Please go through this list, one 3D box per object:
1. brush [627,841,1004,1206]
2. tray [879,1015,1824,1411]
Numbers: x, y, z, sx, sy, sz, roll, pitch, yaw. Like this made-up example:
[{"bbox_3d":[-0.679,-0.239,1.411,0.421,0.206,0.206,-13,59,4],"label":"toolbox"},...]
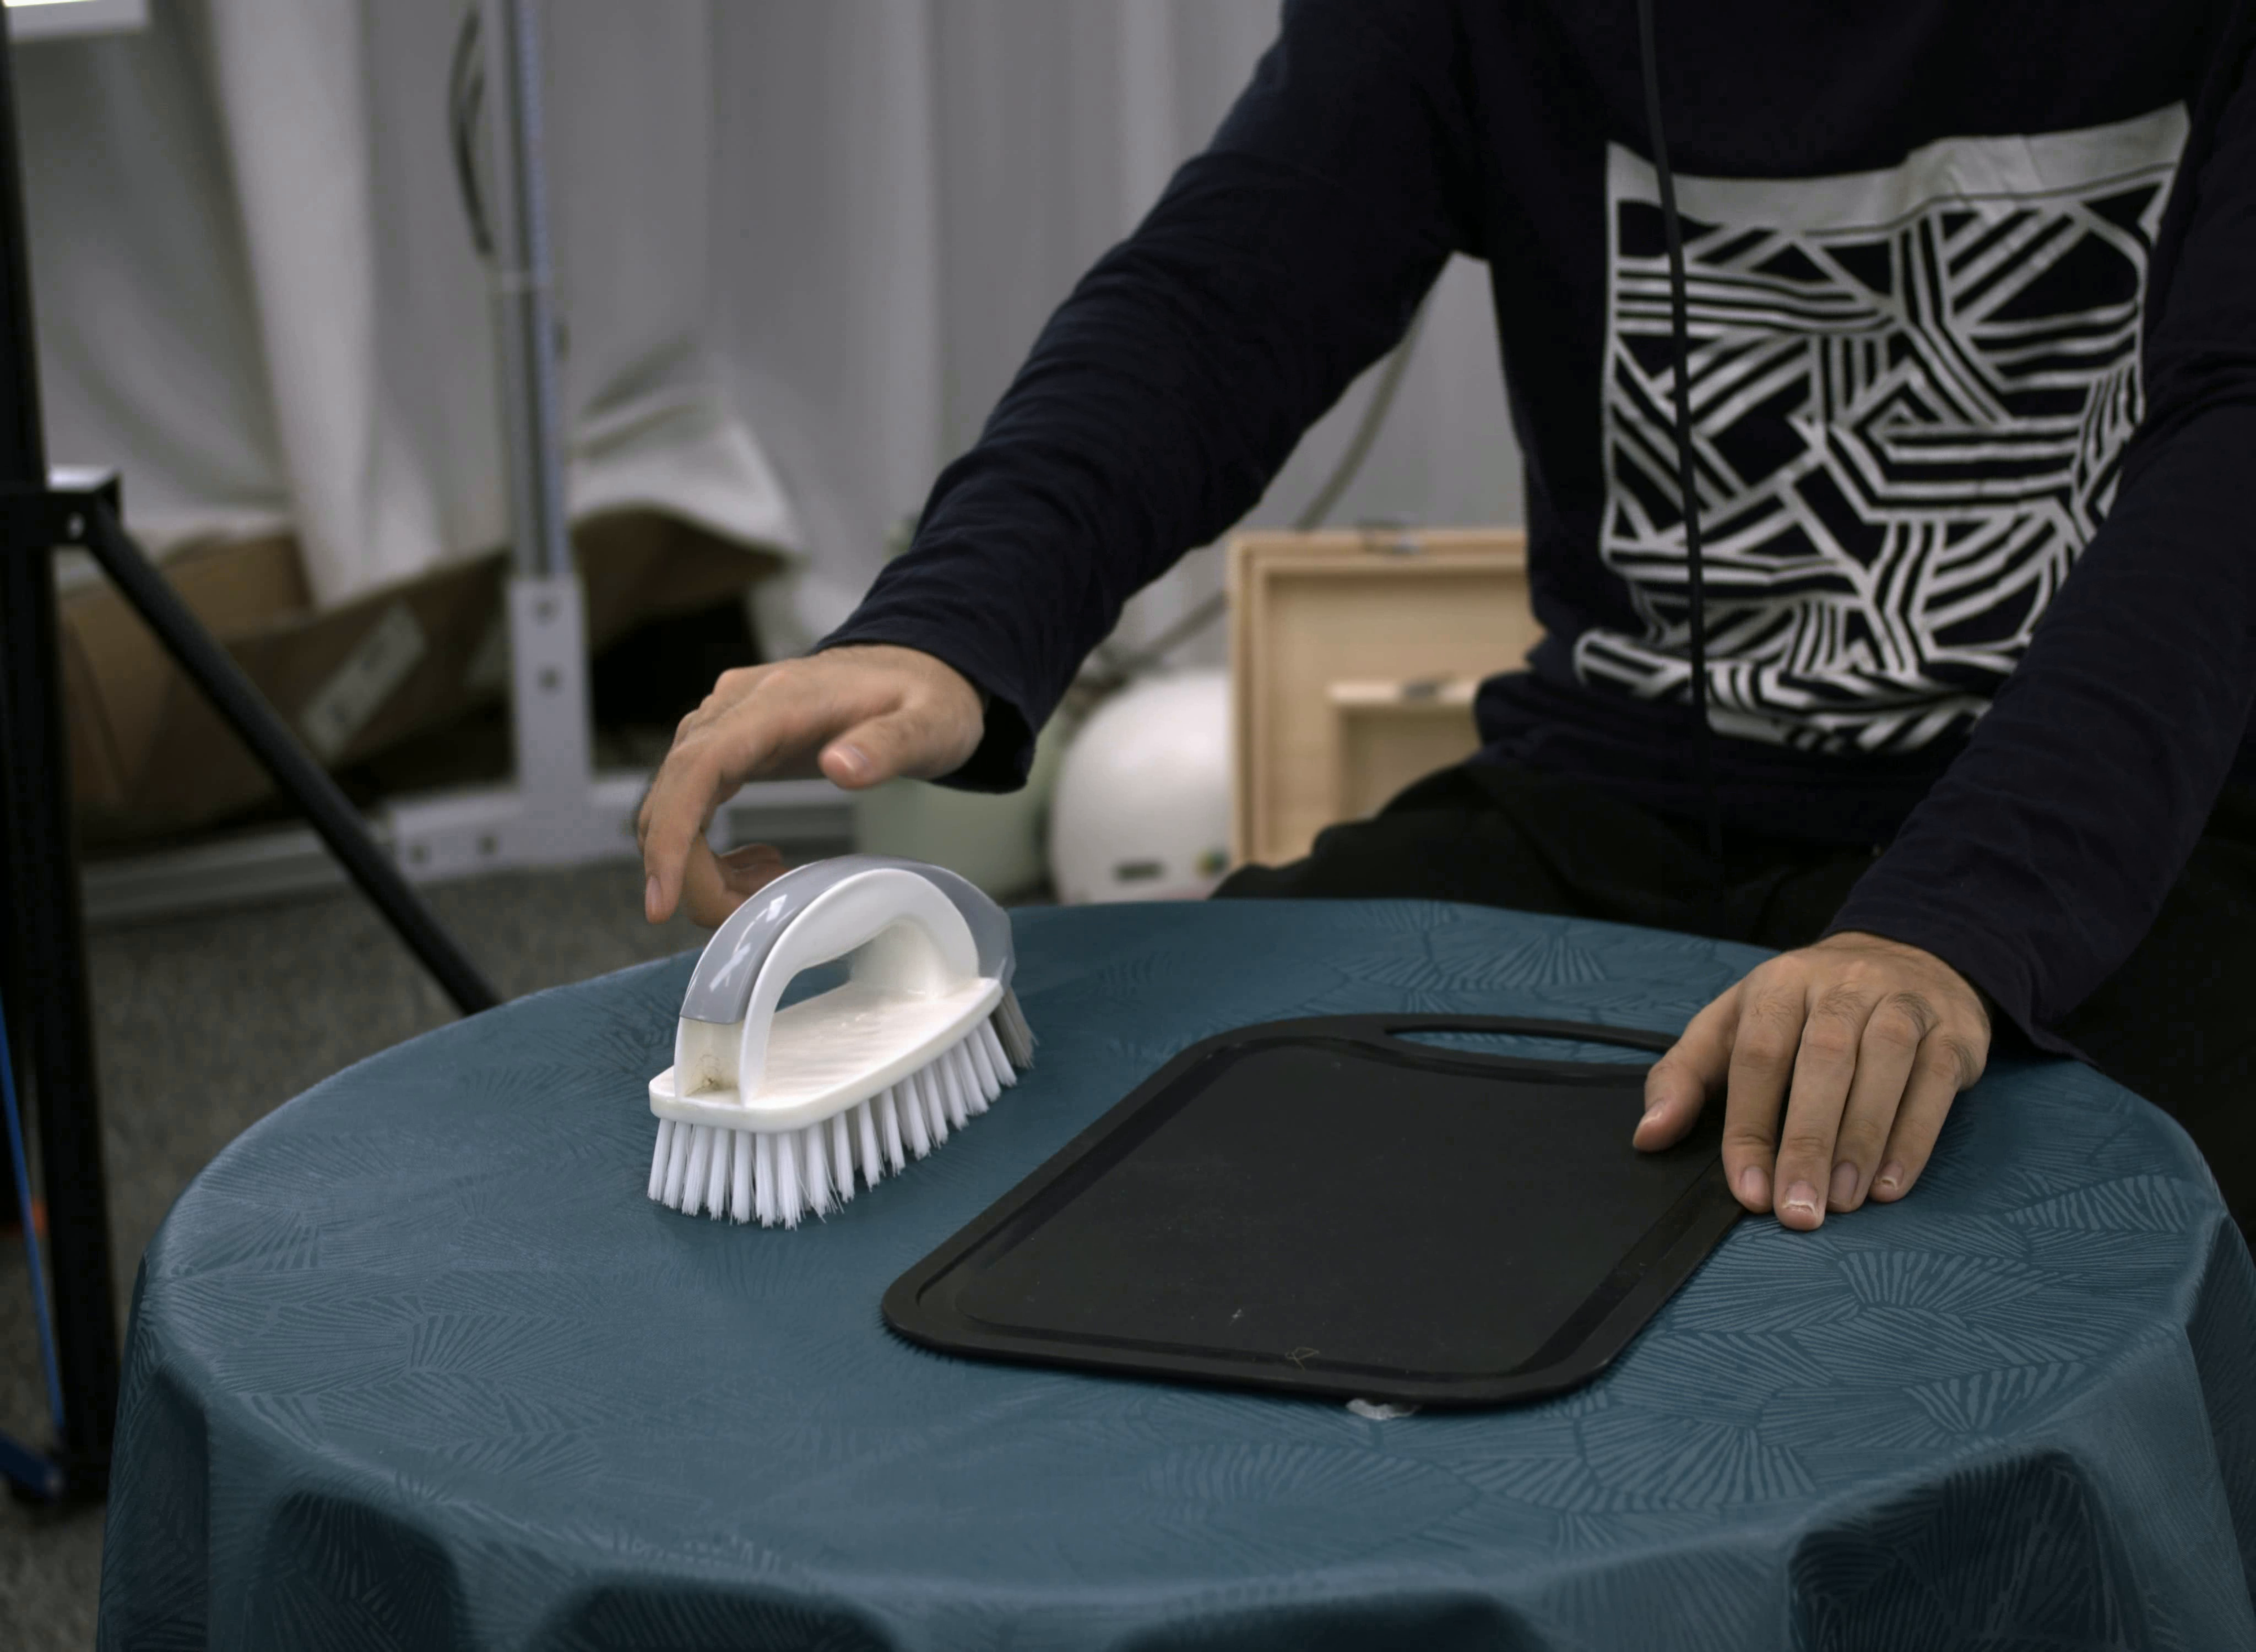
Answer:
[{"bbox_3d":[-0.083,0.049,1.613,0.062,0.094,0.172,10,17,29],"label":"brush"},{"bbox_3d":[0.074,0.104,1.549,0.214,0.010,0.321,5,17,23],"label":"tray"}]
